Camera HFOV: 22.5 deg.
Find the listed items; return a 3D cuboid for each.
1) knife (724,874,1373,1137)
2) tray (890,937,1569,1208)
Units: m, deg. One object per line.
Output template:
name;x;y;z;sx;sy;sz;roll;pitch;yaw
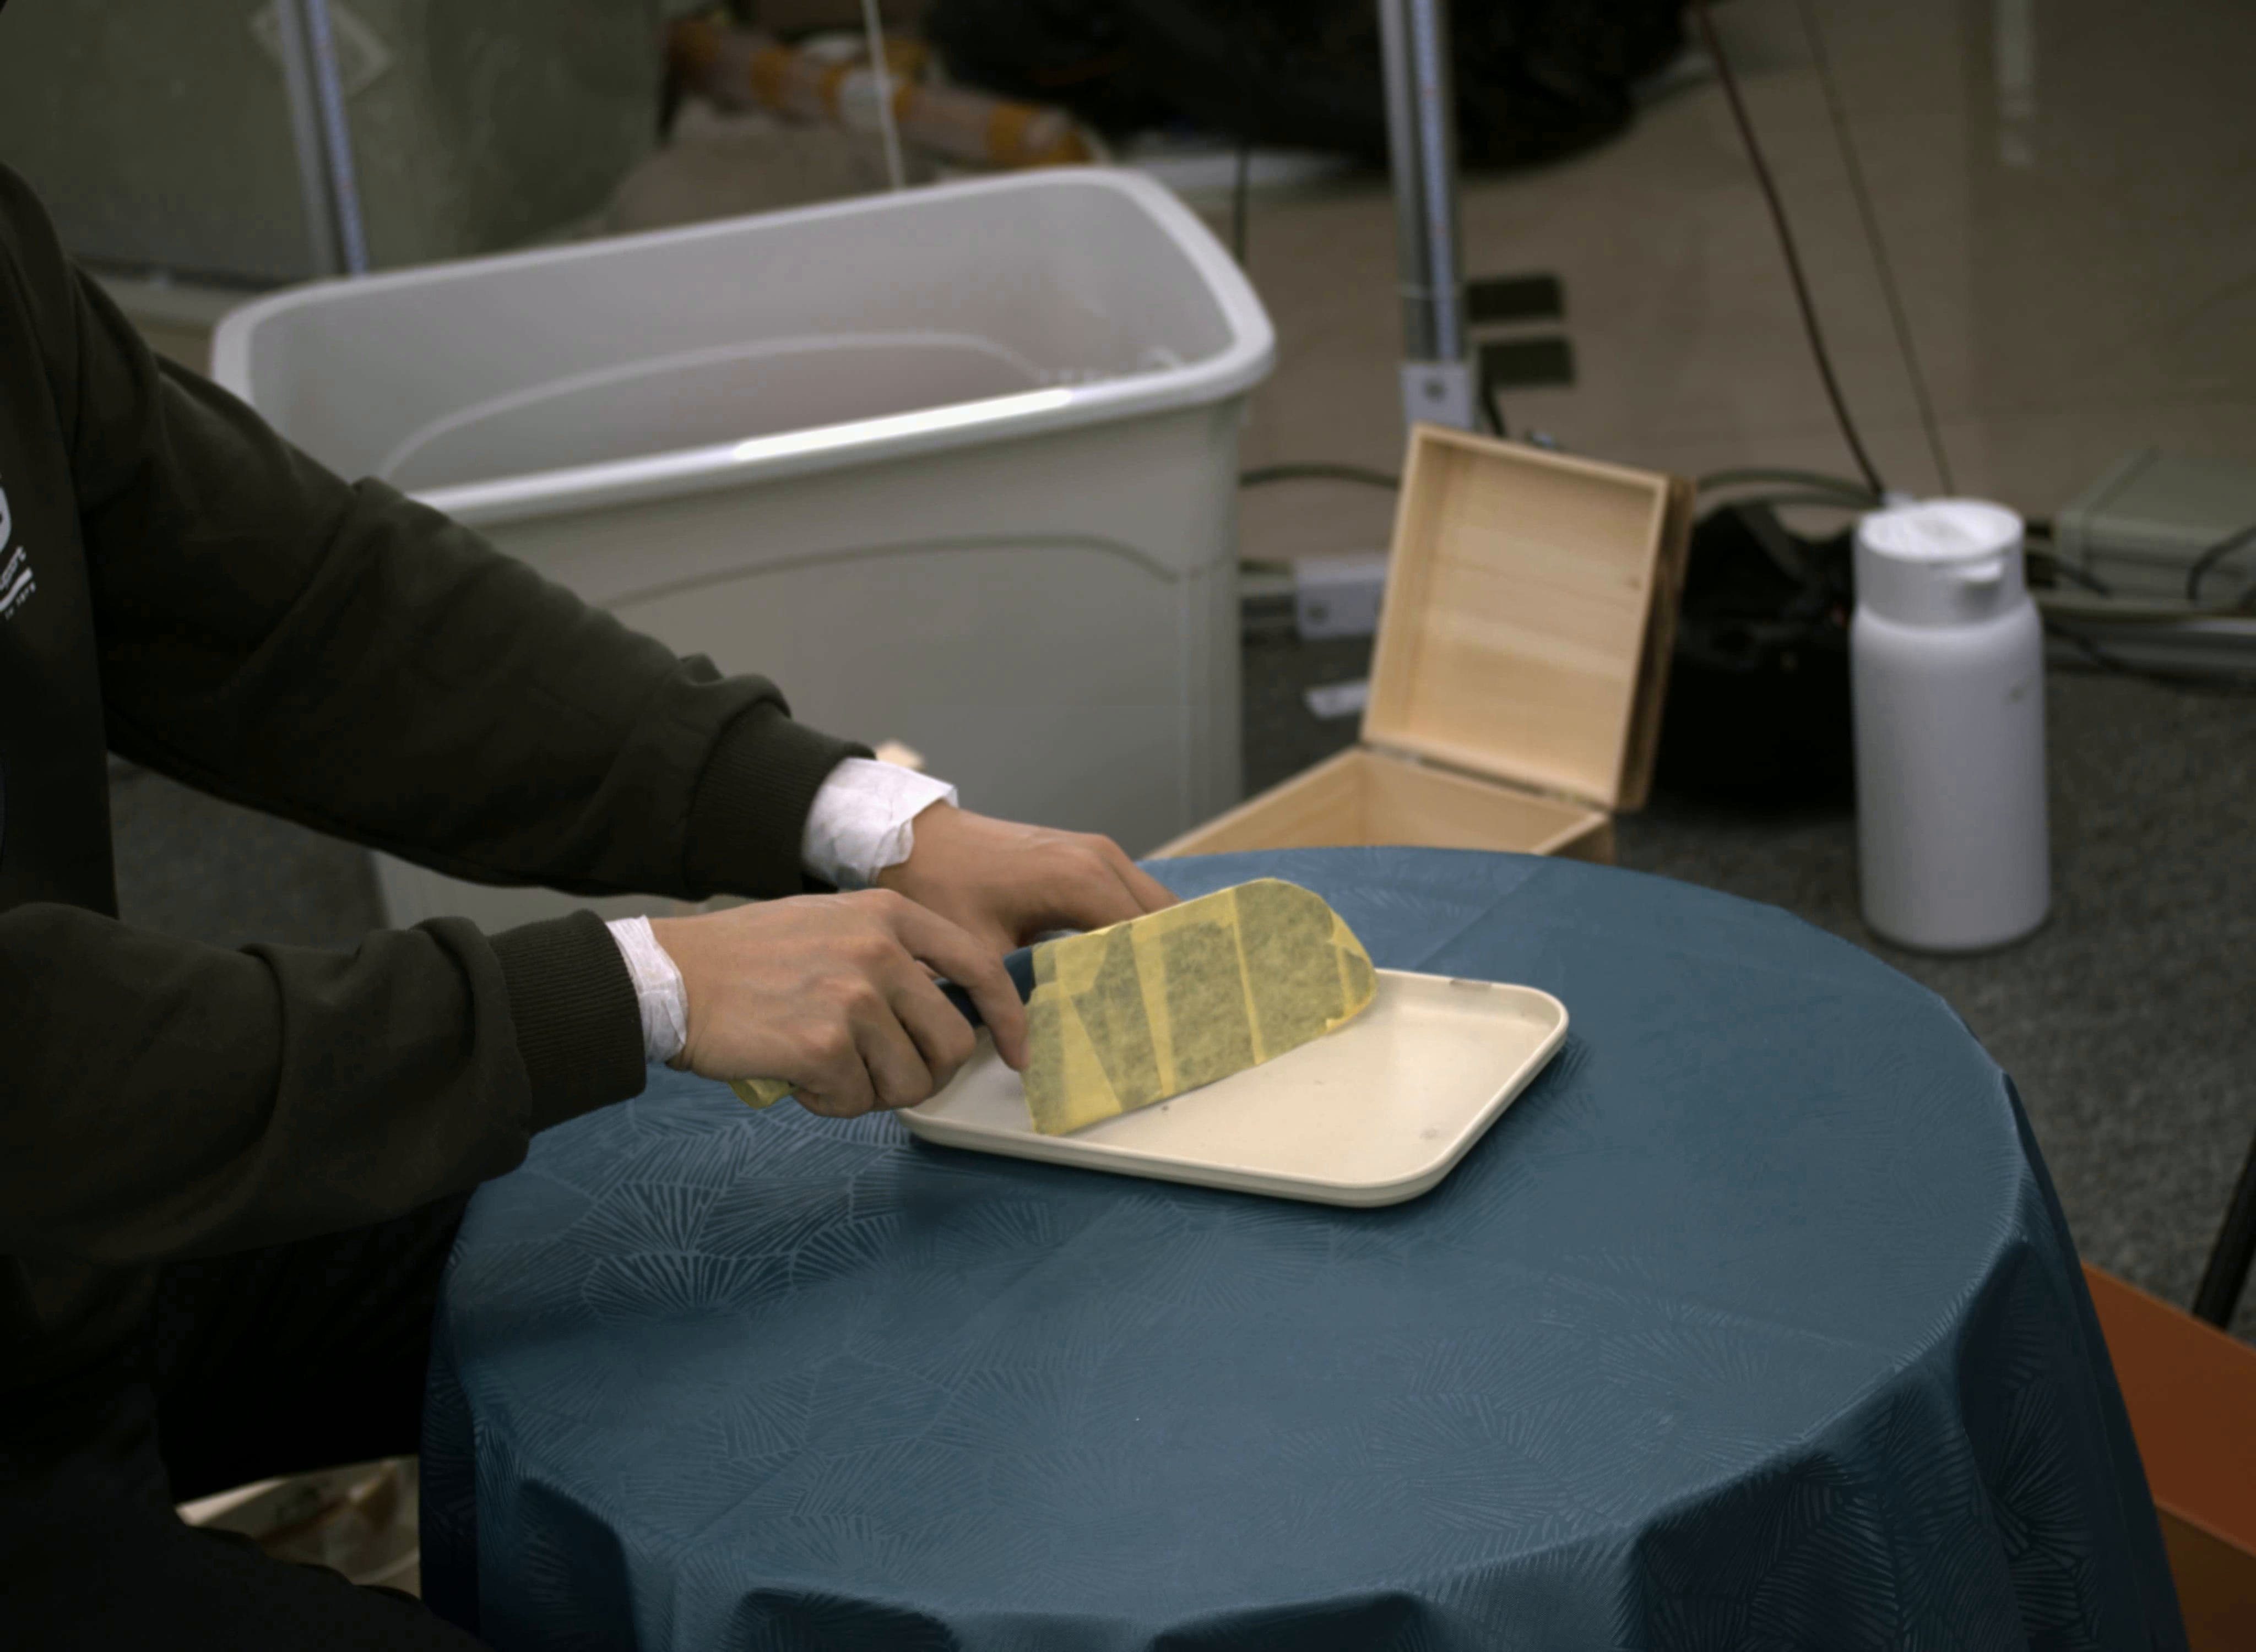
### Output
knife;-0.025;0.078;2.182;0.288;0.081;0.027;-14;10;-29
tray;0.040;0.096;2.214;0.239;0.018;0.169;7;28;27
